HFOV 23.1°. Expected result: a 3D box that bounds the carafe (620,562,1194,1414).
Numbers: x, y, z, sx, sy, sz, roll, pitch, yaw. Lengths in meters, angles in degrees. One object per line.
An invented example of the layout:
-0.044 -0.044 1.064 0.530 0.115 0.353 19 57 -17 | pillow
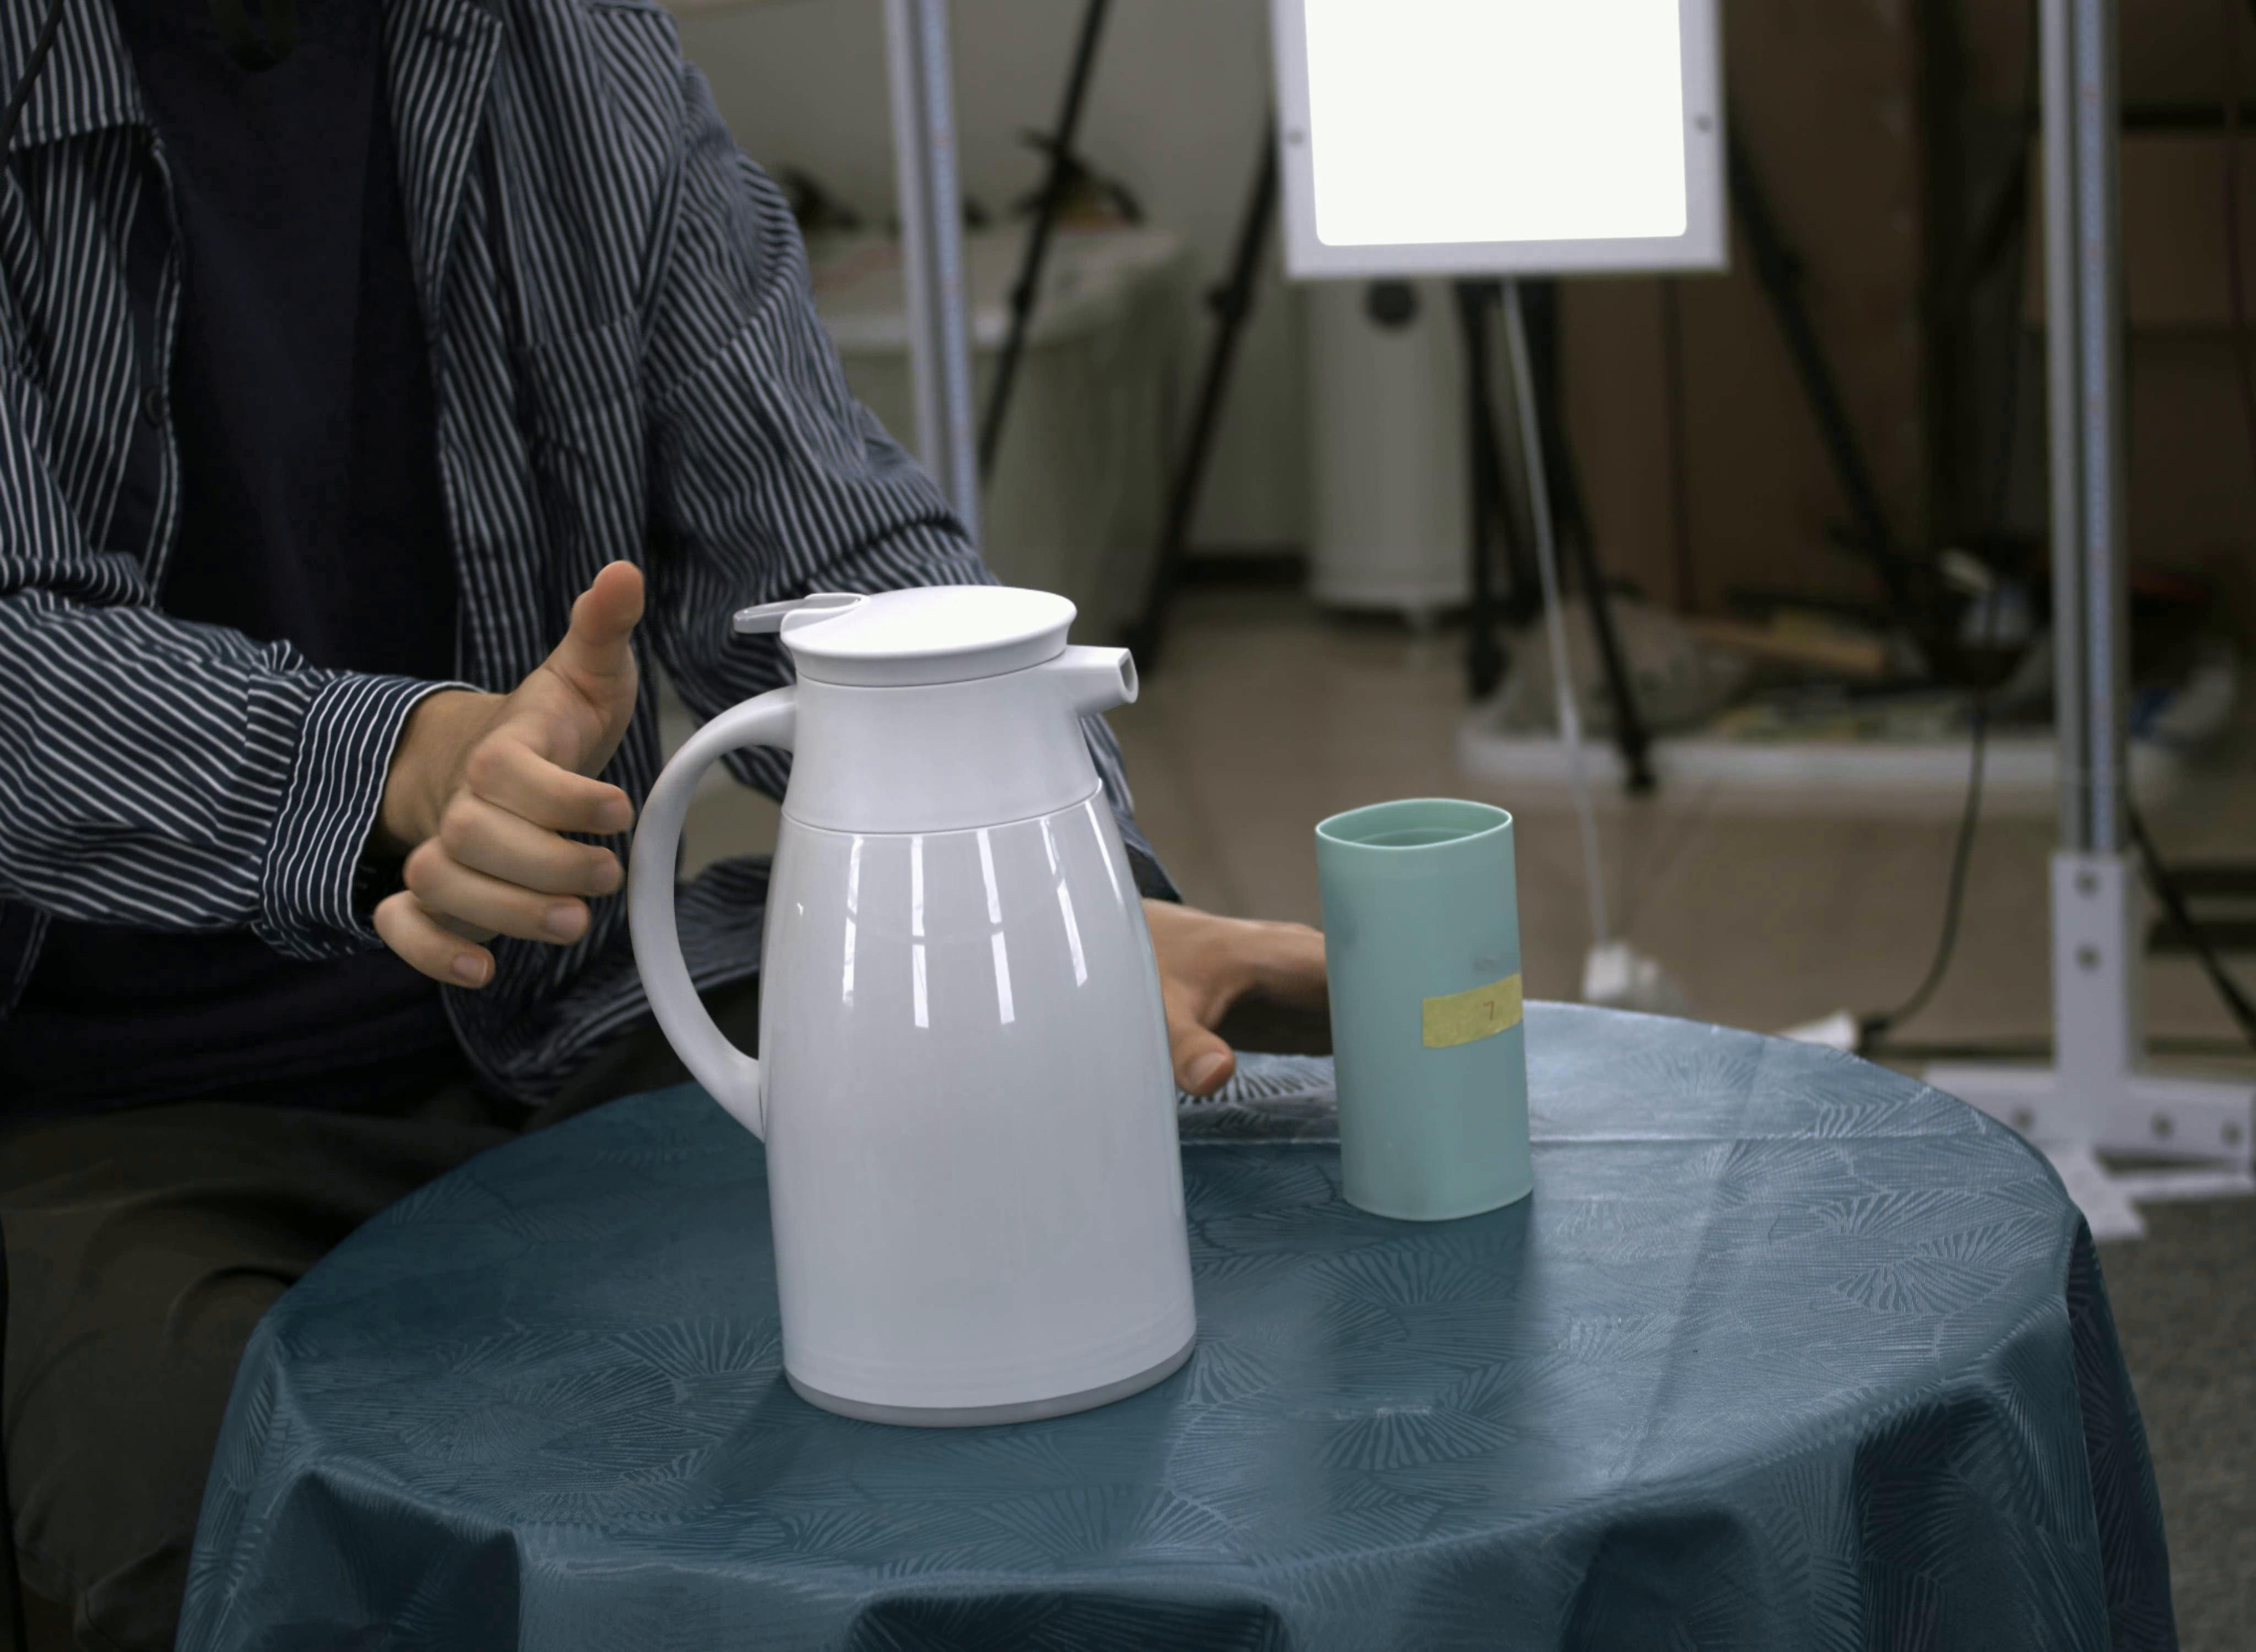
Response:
-0.073 0.045 1.713 0.169 0.249 0.131 -3 15 11 | carafe

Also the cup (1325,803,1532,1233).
0.101 0.063 1.847 0.066 0.133 0.066 -3 15 -1 | cup
